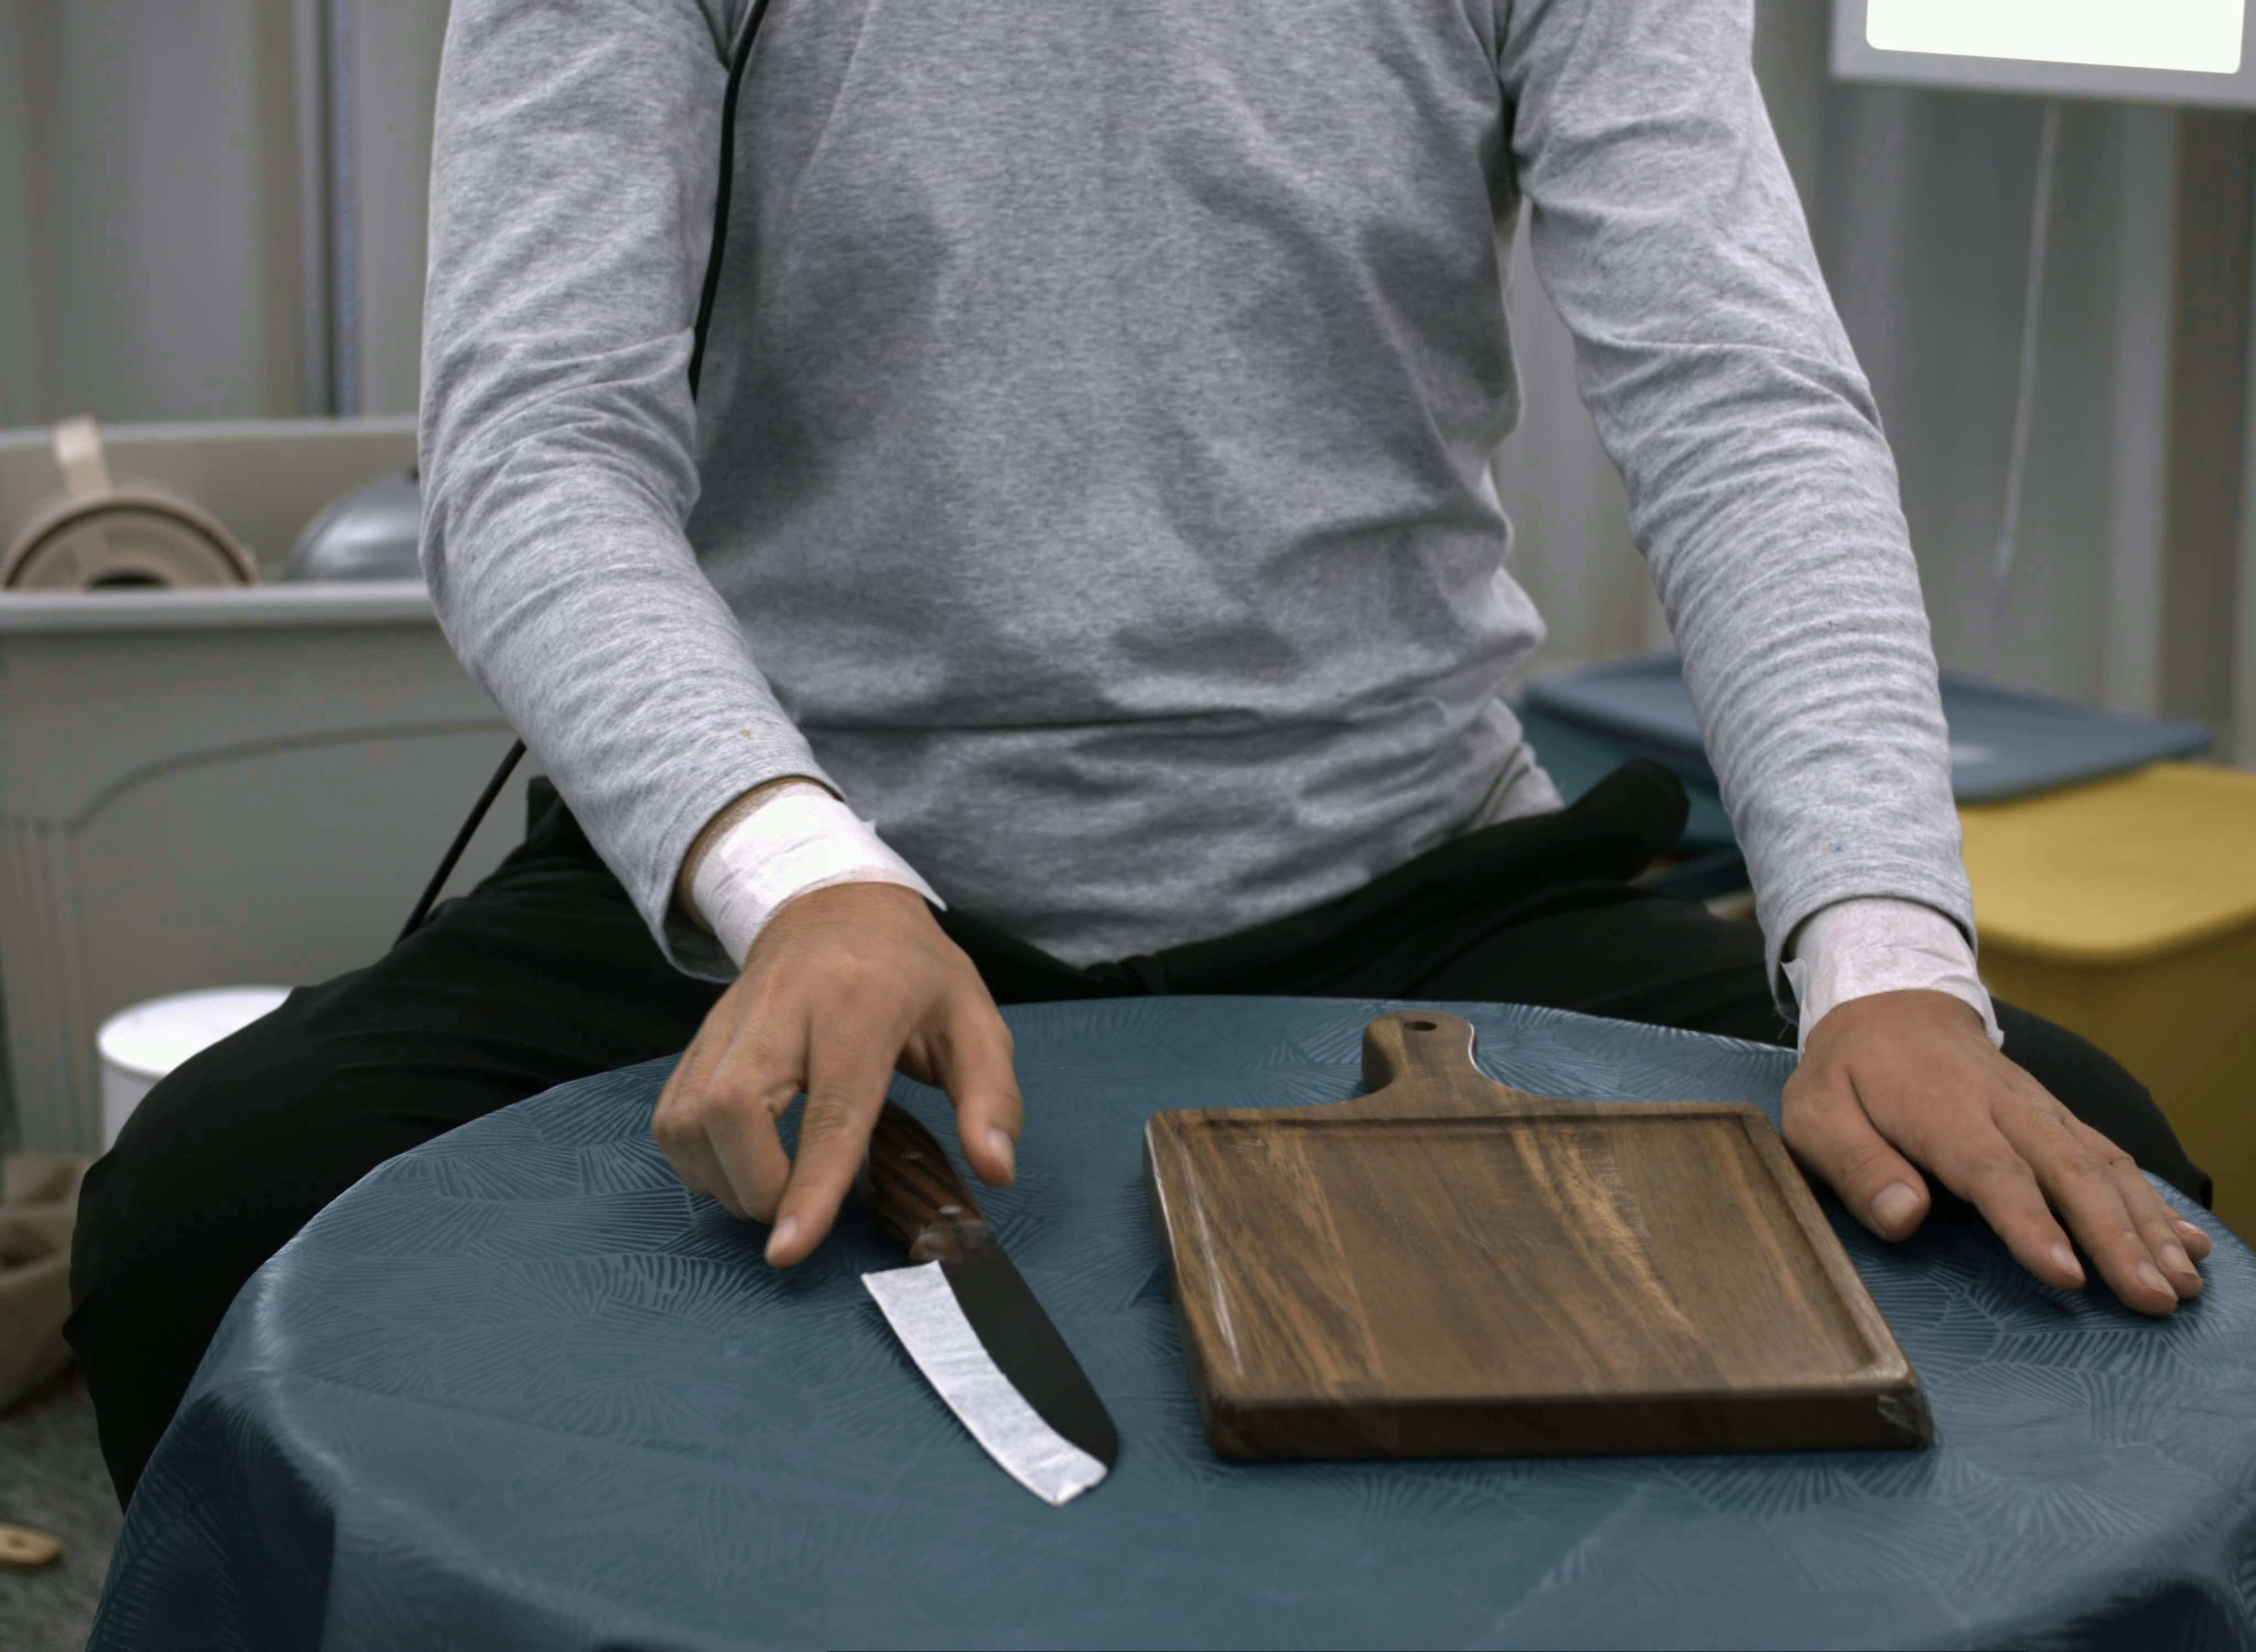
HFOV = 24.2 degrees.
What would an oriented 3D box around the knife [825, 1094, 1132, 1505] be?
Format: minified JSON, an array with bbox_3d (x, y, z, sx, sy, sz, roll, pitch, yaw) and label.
[{"bbox_3d":[-0.048,0.135,1.514,0.050,0.020,0.286,-6,19,-13],"label":"knife"}]

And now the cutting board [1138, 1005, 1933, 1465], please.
[{"bbox_3d":[0.107,0.115,1.581,0.201,0.023,0.350,0,15,-5],"label":"cutting board"}]
